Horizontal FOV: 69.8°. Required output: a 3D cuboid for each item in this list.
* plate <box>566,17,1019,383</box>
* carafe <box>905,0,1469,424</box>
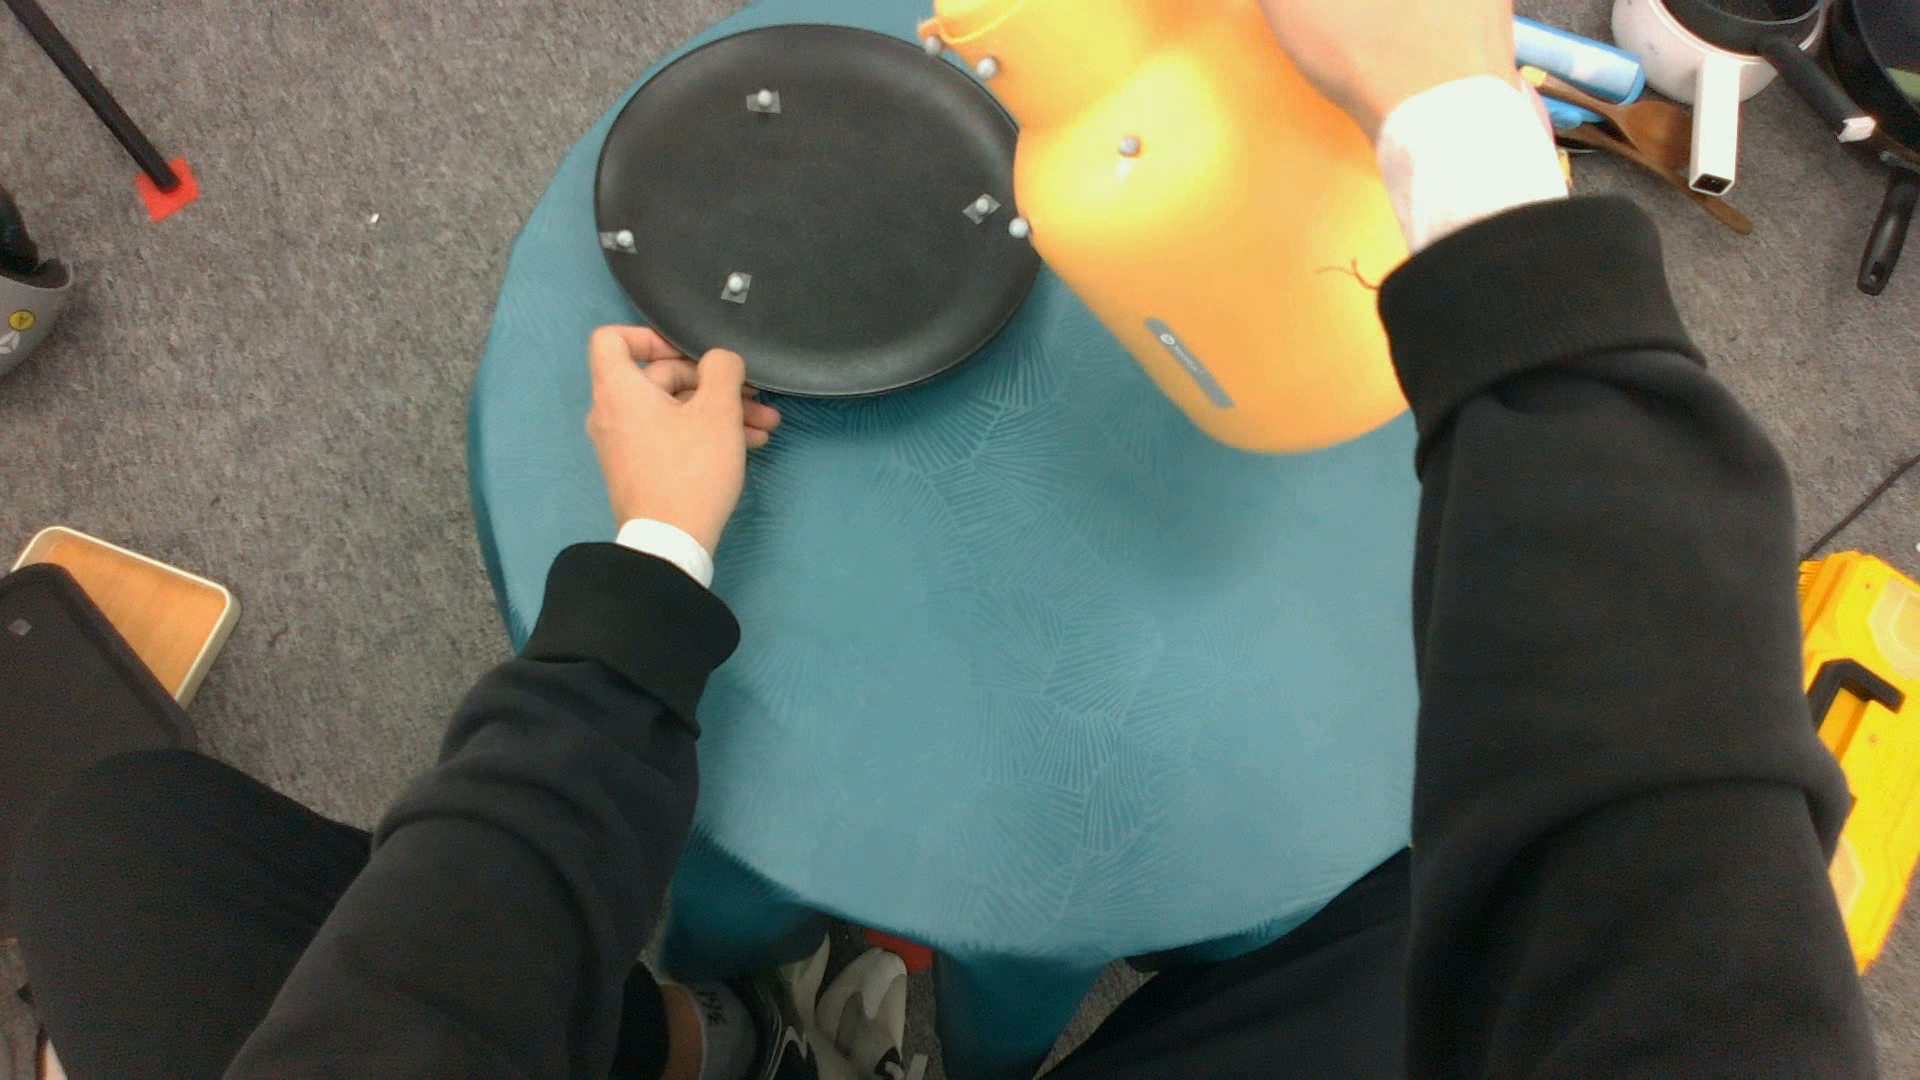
[{"bbox_3d":[-0.089,-0.187,0.753,0.244,0.023,0.245,3,65,-6],"label":"plate"},{"bbox_3d":[0.110,-0.175,0.577,0.260,0.202,0.164,39,67,-35],"label":"carafe"}]
